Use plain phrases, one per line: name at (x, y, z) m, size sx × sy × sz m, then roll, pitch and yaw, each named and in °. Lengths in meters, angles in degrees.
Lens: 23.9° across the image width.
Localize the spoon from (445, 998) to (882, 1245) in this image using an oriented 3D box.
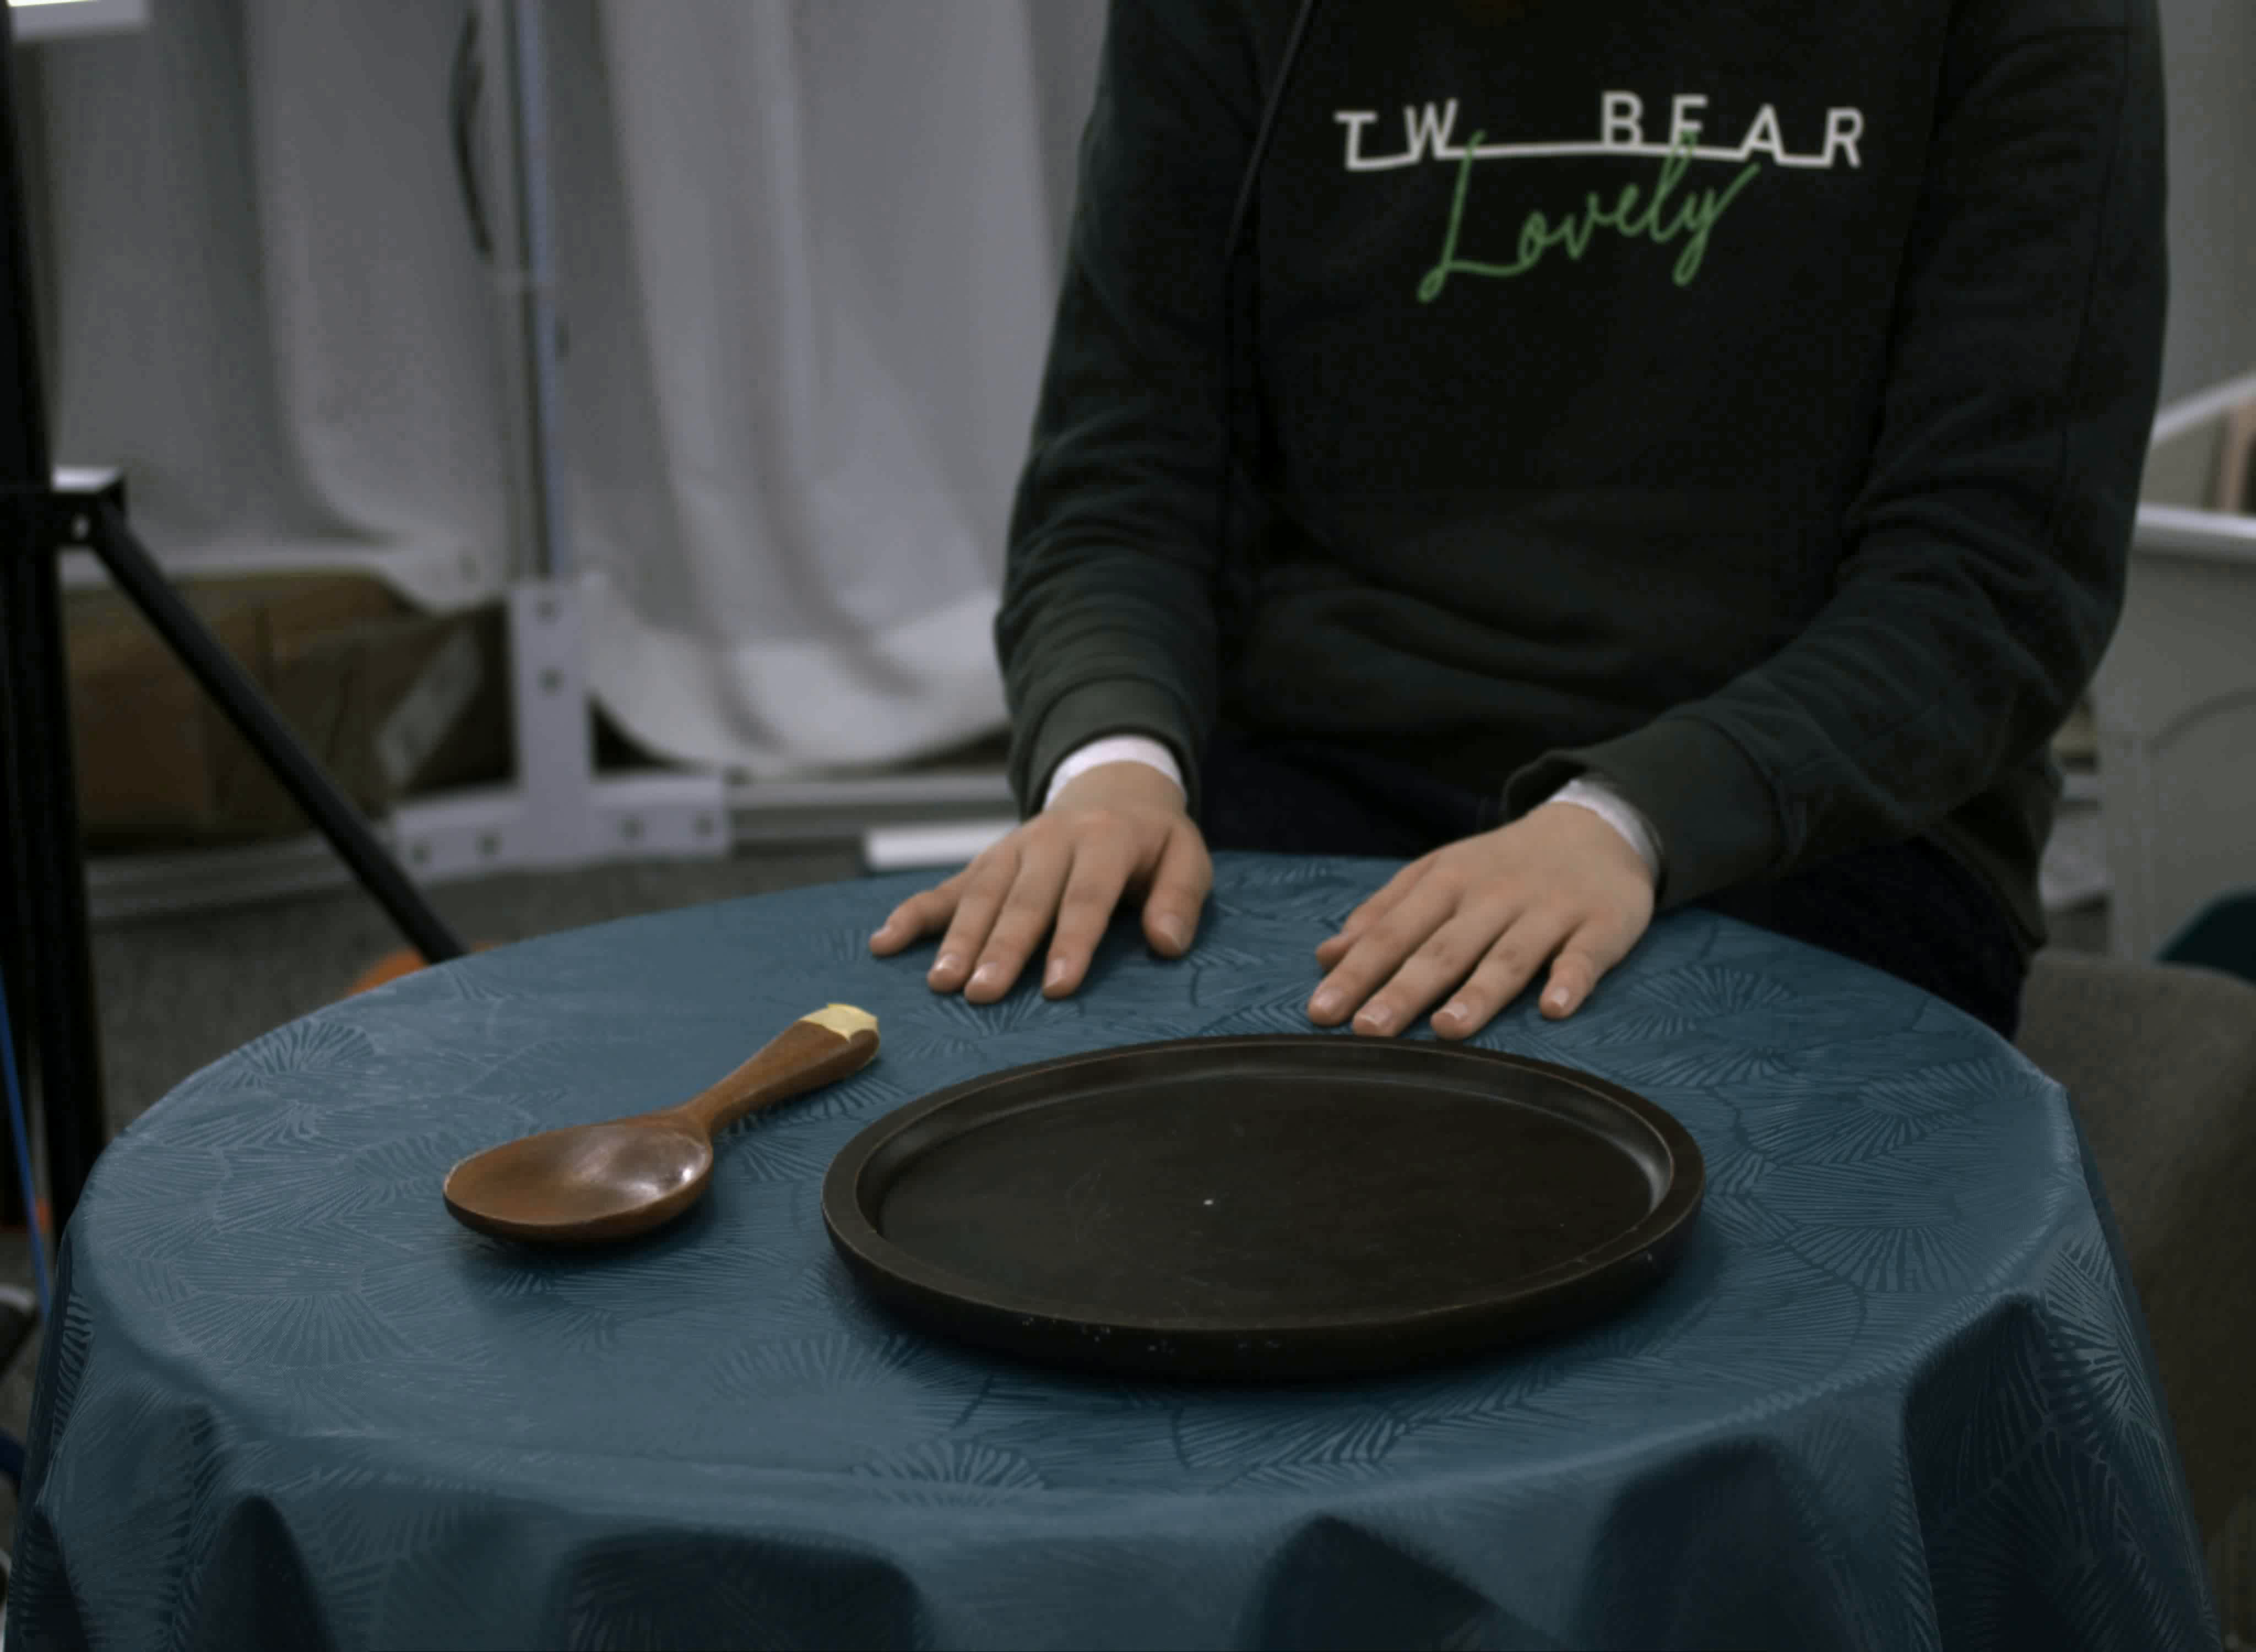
spoon at (-0.131, 0.091, 1.610) m, size 0.076 × 0.017 × 0.212 m, roll 5°, pitch 18°, yaw 26°

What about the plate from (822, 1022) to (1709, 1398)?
plate at (0.039, 0.109, 1.510) m, size 0.253 × 0.029 × 0.256 m, roll -2°, pitch 17°, yaw -1°
